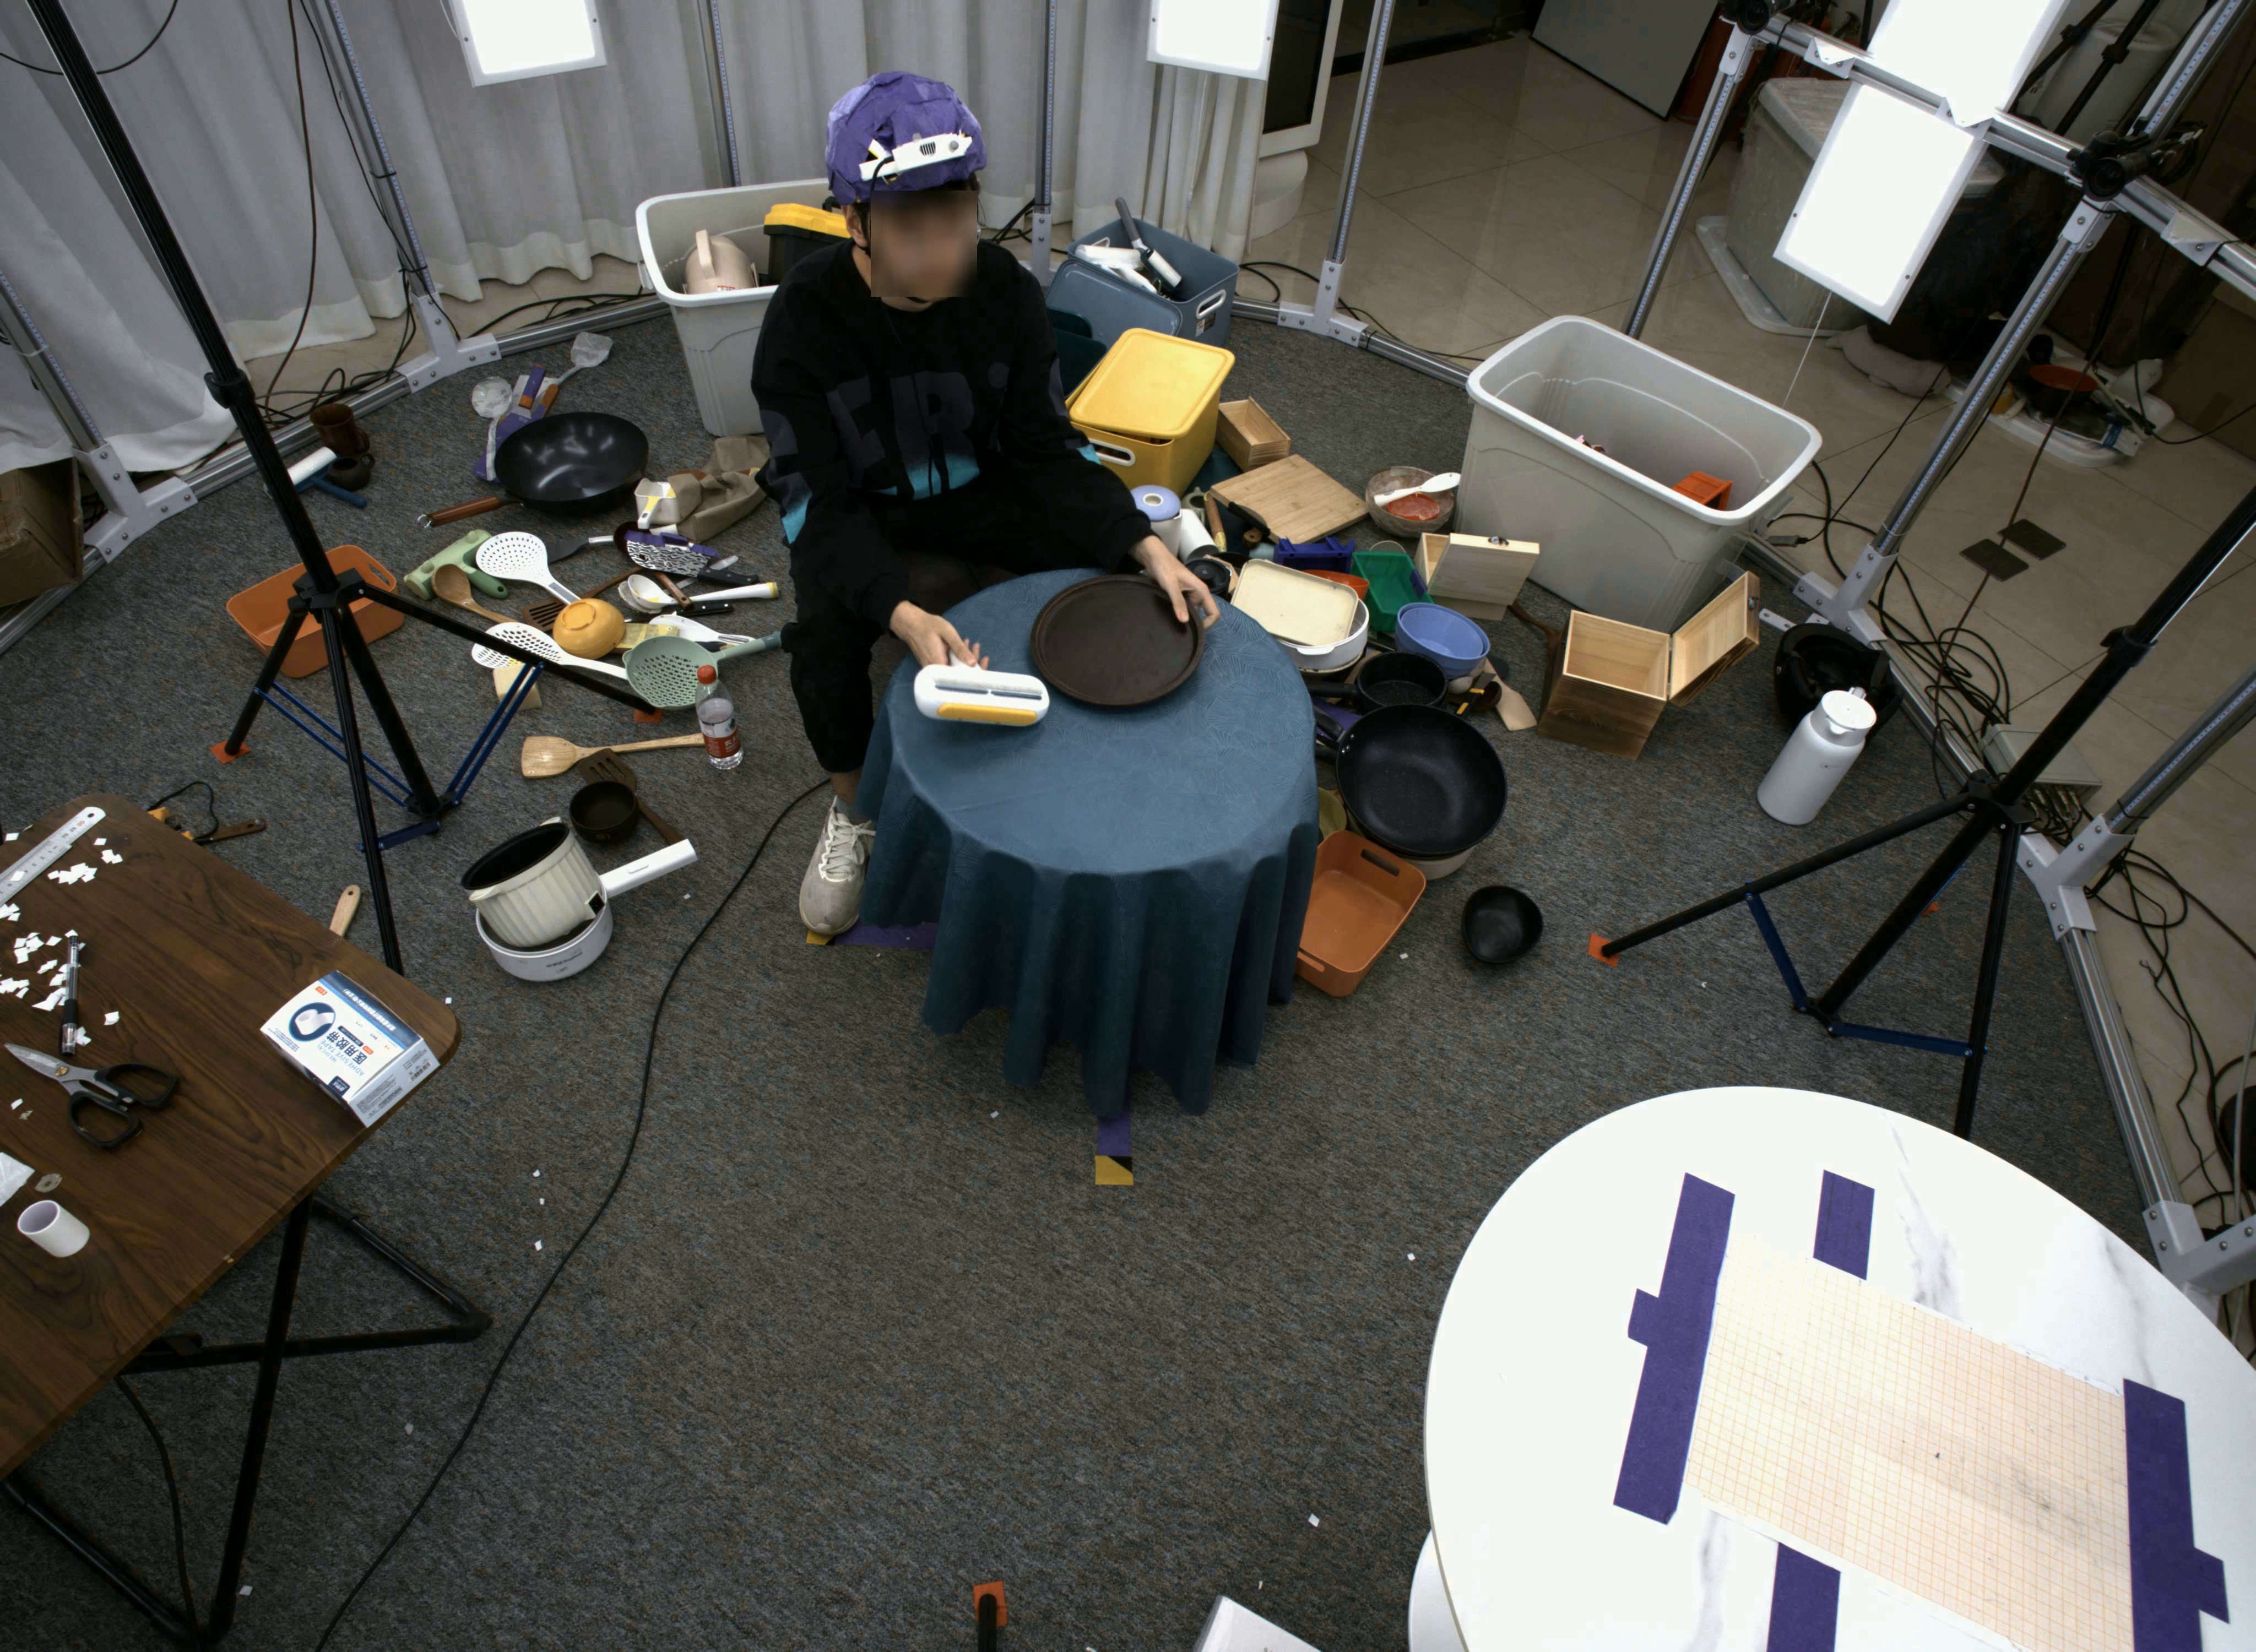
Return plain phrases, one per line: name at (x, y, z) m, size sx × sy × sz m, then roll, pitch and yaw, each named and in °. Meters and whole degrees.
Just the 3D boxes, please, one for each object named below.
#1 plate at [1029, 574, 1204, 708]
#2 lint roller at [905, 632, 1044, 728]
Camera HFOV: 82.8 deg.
plate at (-0.016, -0.270, 1.869) m, size 0.255 × 0.028 × 0.261 m, roll -2°, pitch 53°, yaw 2°
lint roller at (-0.223, -0.215, 1.772) m, size 0.192 × 0.073 × 0.197 m, roll 4°, pitch 45°, yaw -26°
